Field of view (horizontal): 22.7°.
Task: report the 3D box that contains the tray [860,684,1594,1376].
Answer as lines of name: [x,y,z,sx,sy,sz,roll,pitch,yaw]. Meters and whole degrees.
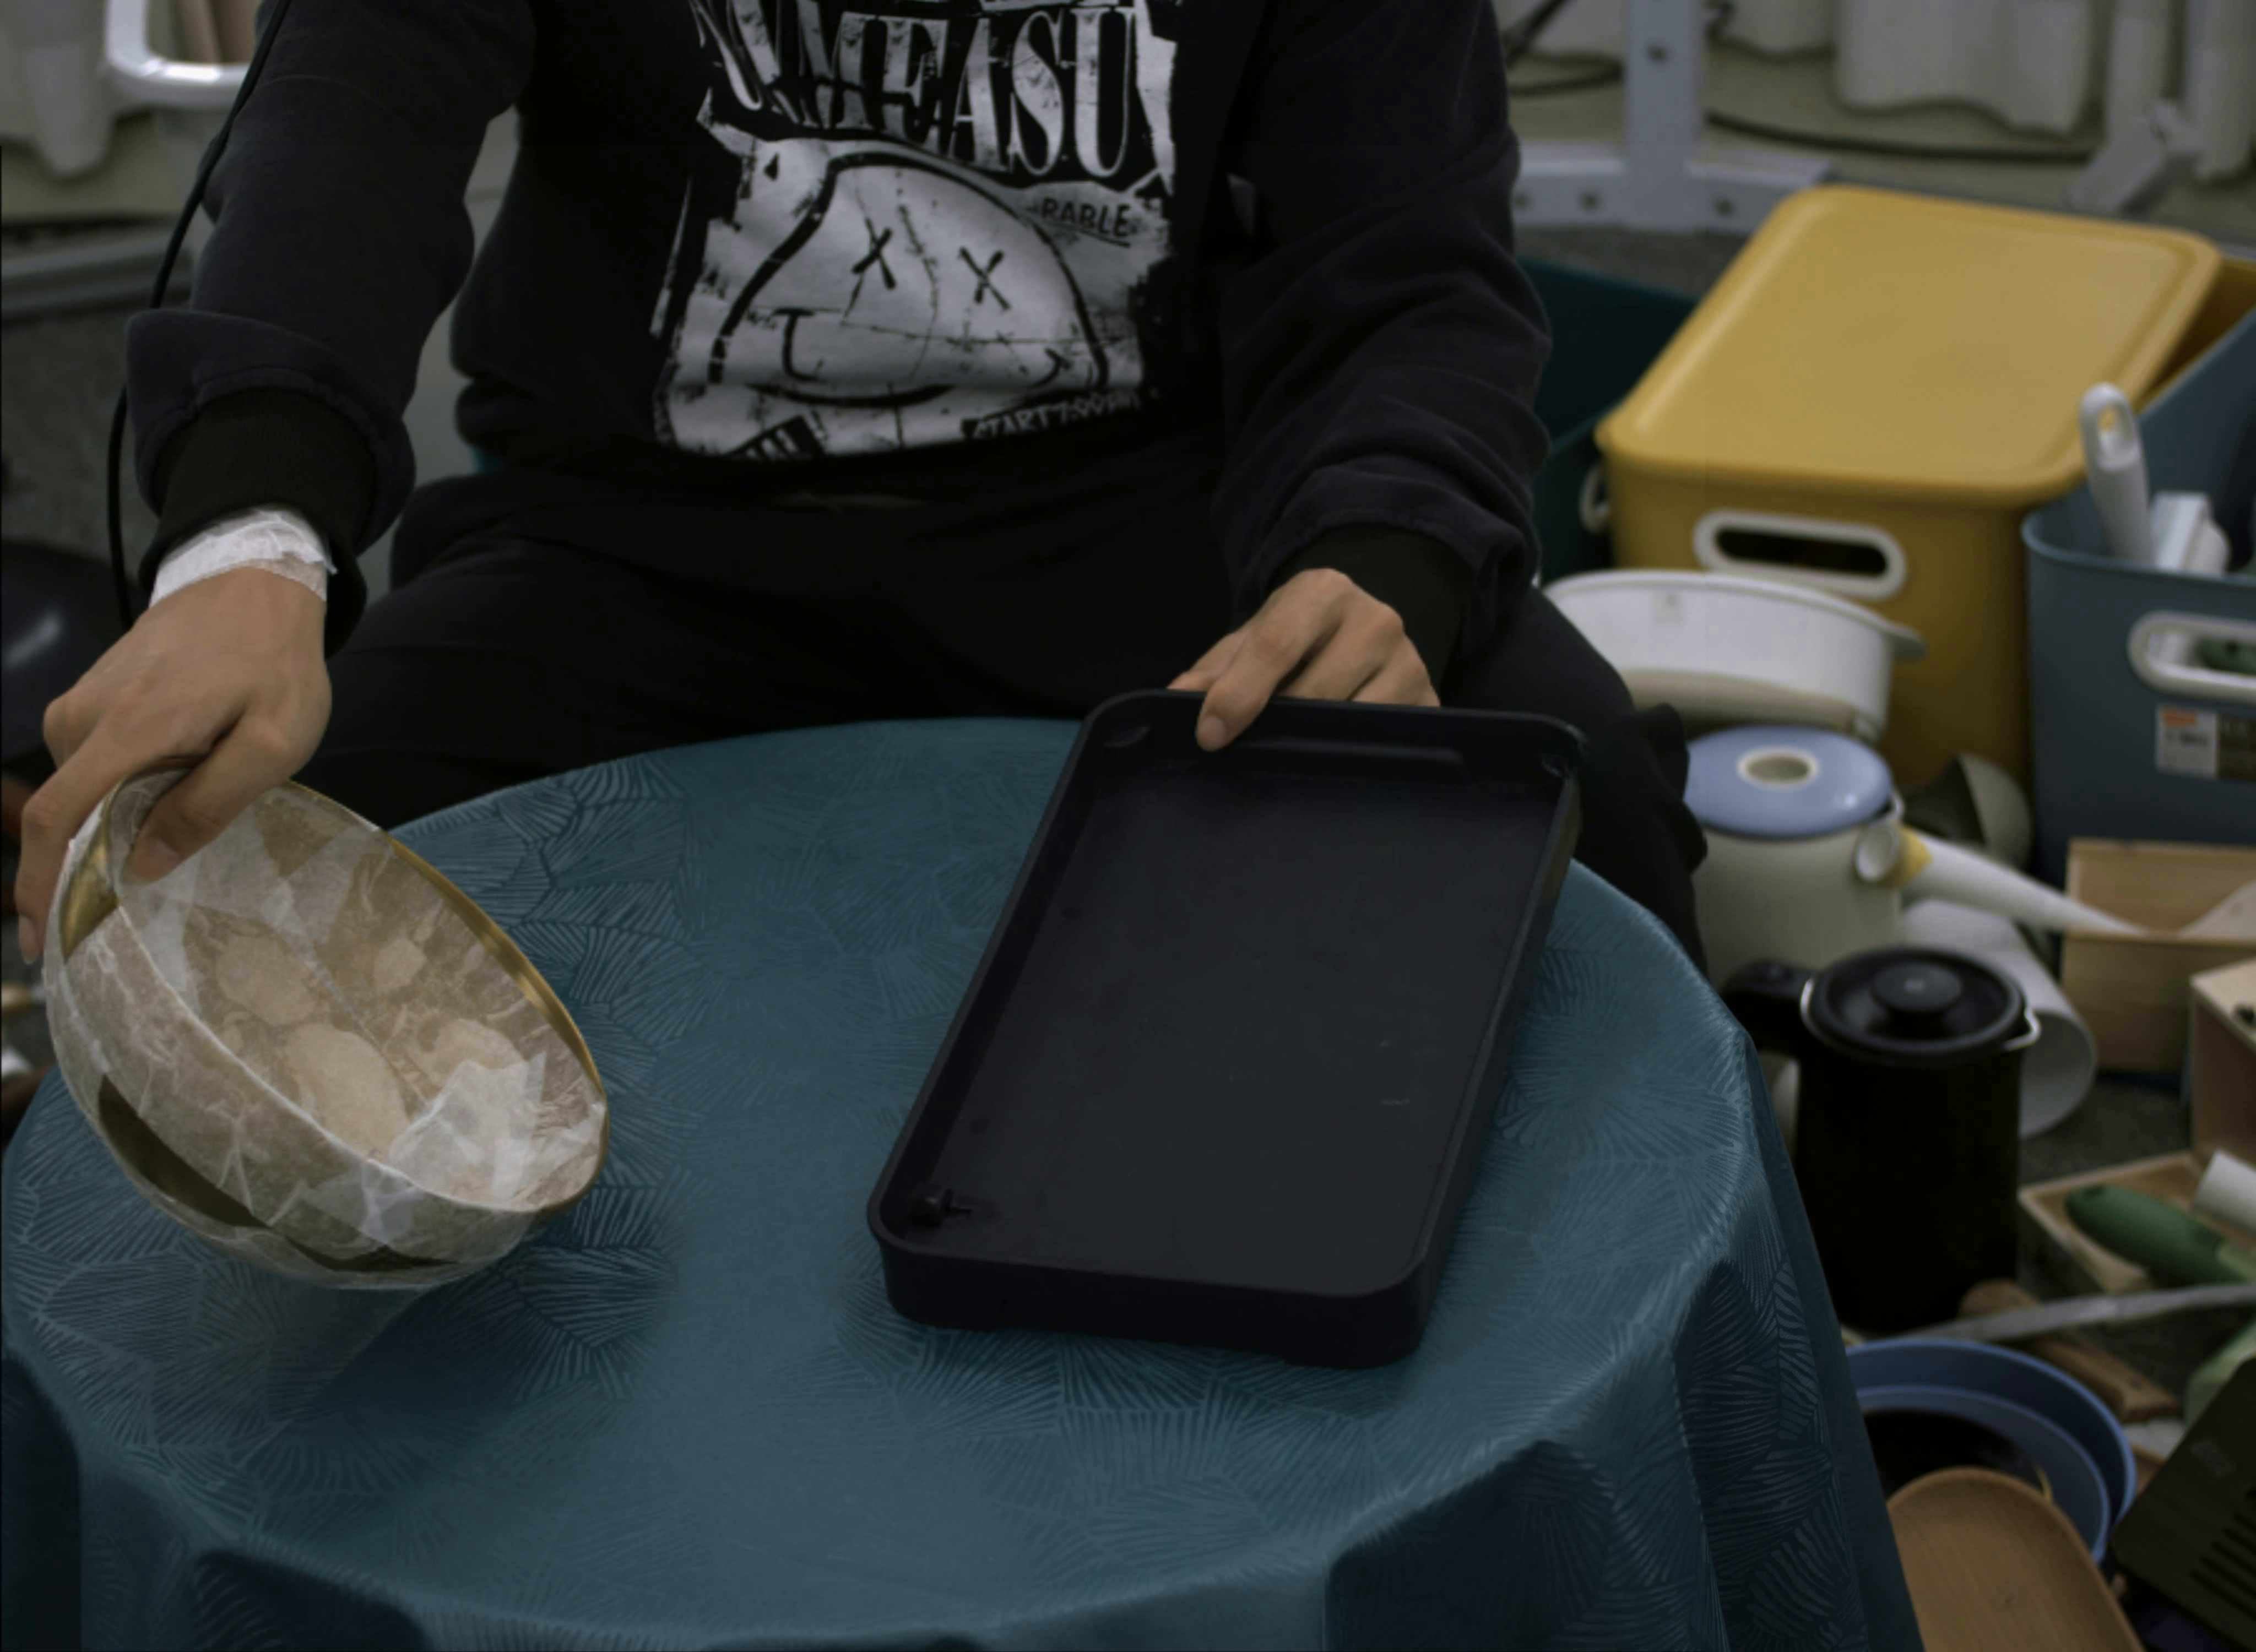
tray: [0.040,0.061,1.891,0.183,0.036,0.324,5,37,15]

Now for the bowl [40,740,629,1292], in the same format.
bowl: [-0.269,0.079,1.804,0.214,0.093,0.217,36,20,-14]
